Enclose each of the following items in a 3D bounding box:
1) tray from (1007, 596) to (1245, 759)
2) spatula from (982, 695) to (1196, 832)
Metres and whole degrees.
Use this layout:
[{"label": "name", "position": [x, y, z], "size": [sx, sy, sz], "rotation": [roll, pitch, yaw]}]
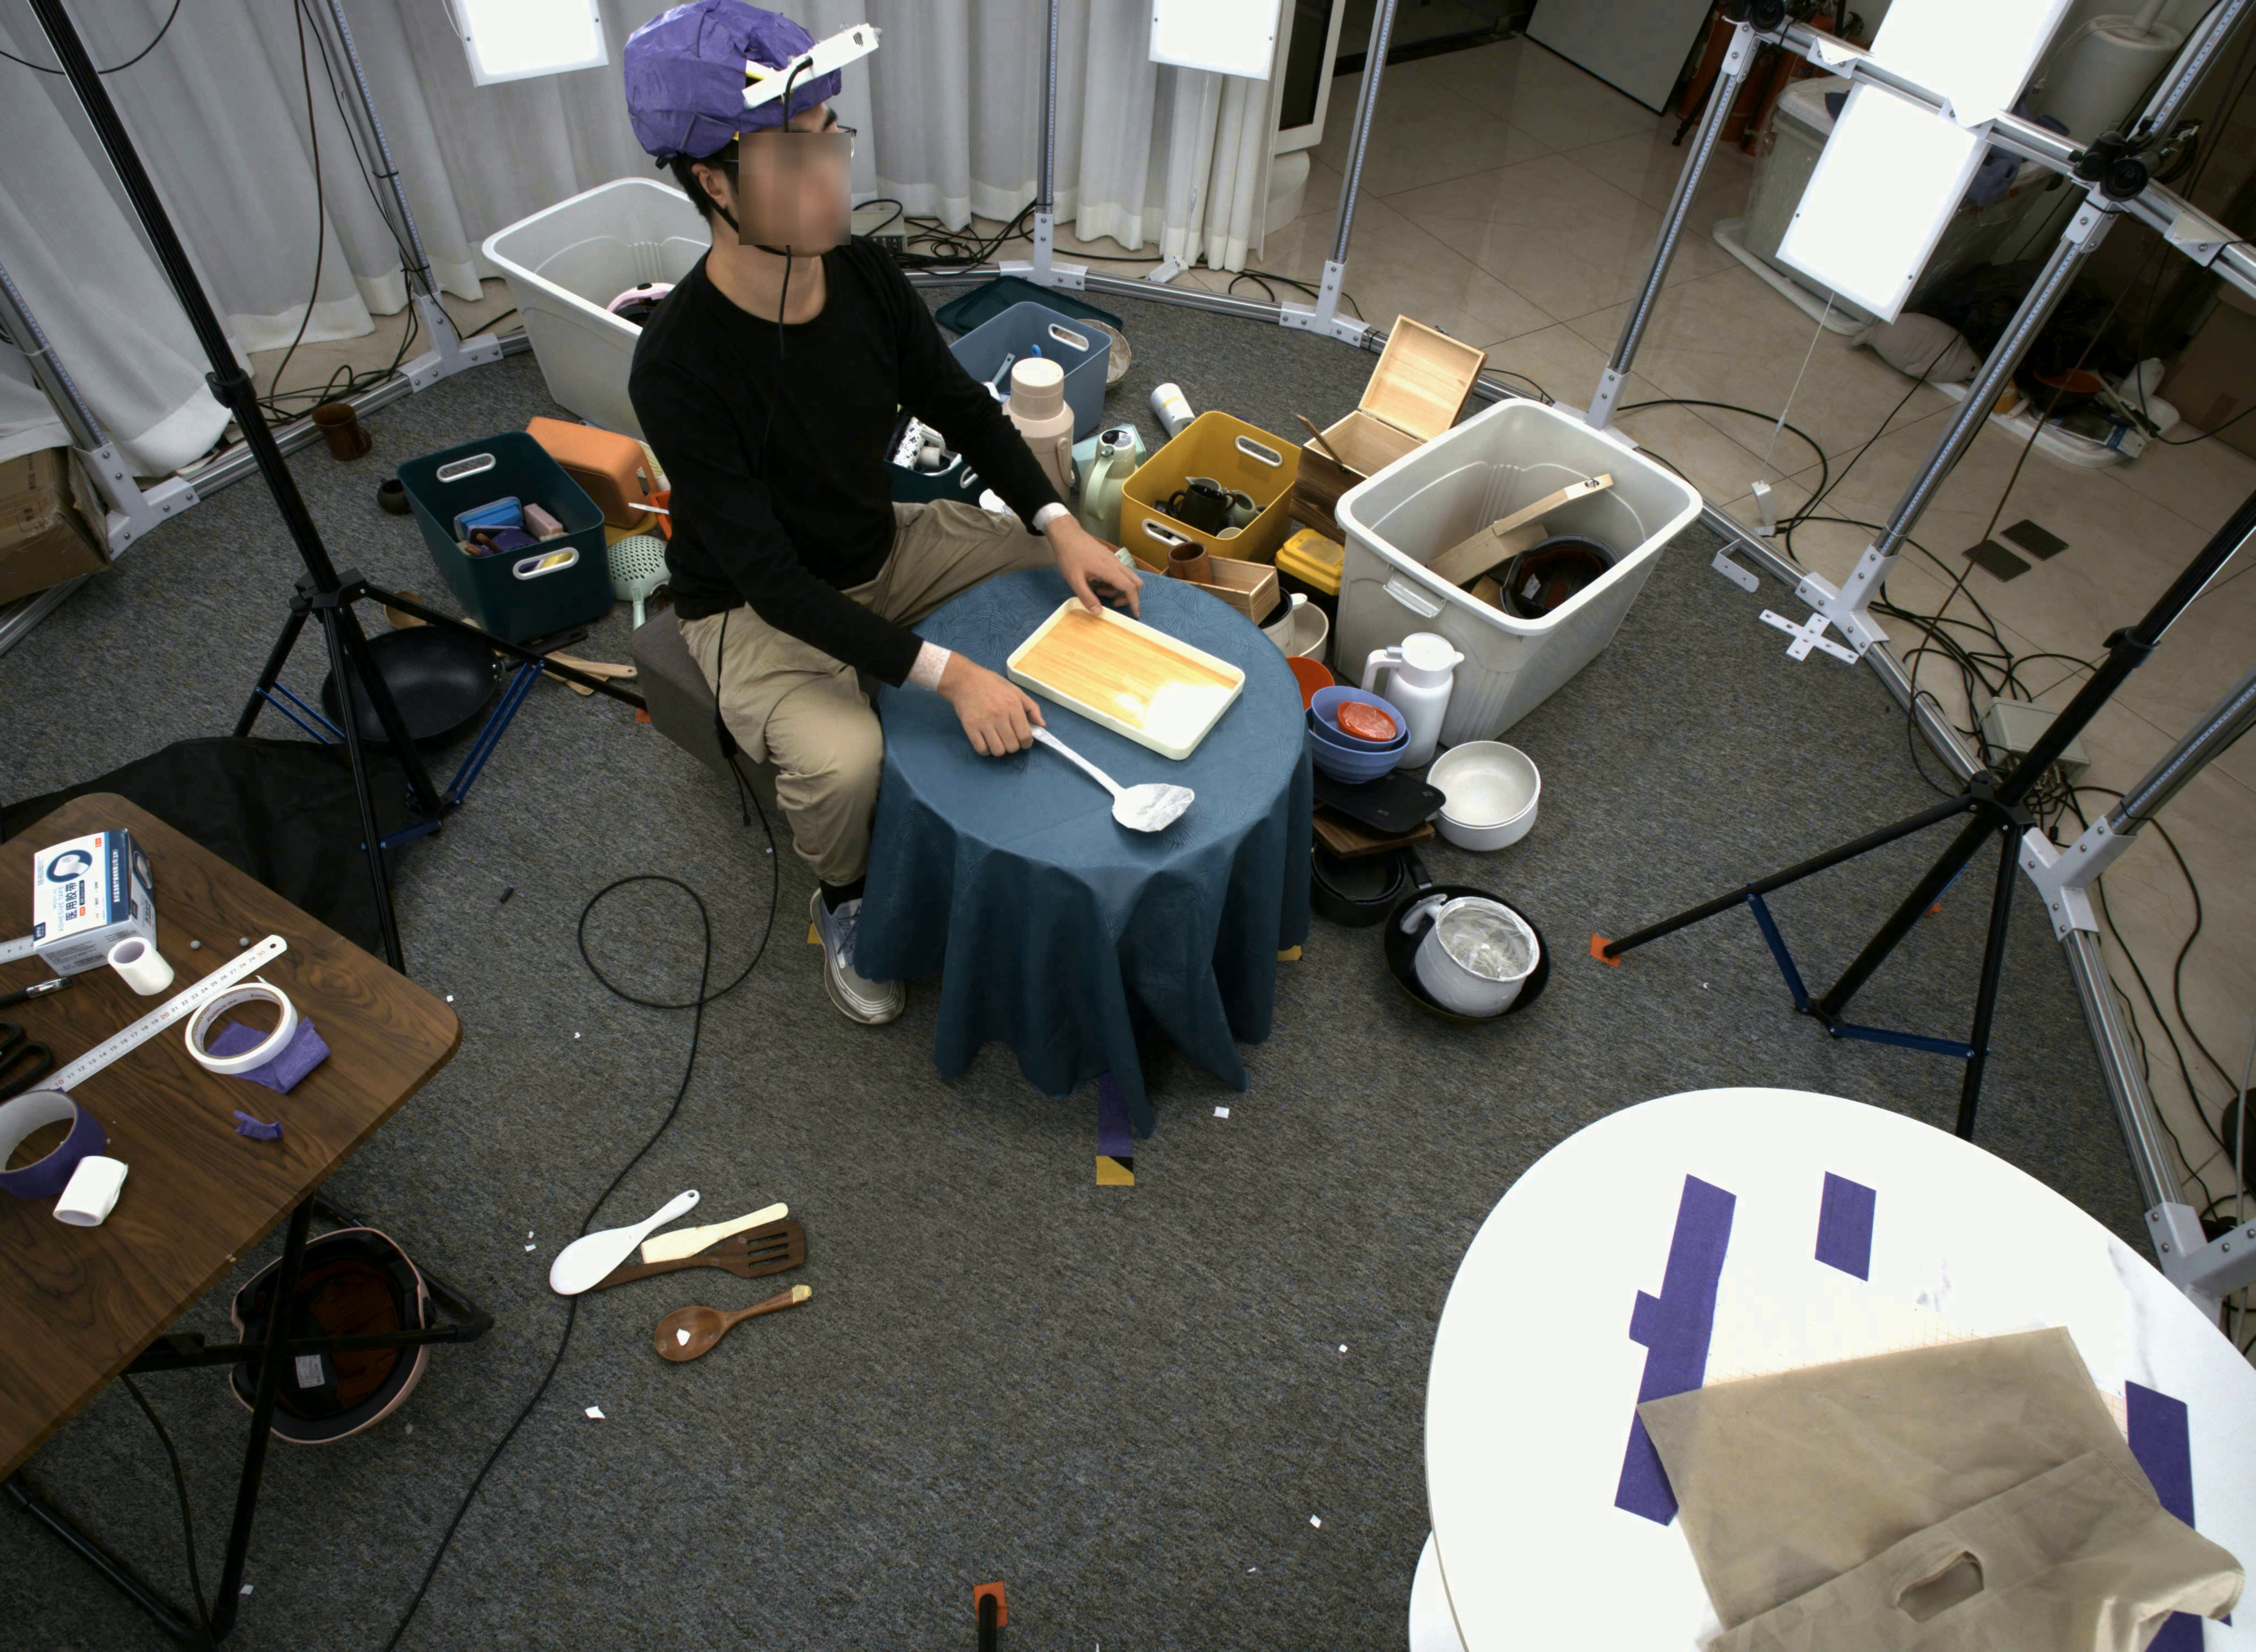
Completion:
[{"label": "tray", "position": [-0.003, -0.217, 1.841], "size": [0.303, 0.027, 0.194], "rotation": [27, 53, 19]}, {"label": "spatula", "position": [-0.071, -0.097, 1.725], "size": [0.369, 0.044, 0.100], "rotation": [35, 56, 23]}]
